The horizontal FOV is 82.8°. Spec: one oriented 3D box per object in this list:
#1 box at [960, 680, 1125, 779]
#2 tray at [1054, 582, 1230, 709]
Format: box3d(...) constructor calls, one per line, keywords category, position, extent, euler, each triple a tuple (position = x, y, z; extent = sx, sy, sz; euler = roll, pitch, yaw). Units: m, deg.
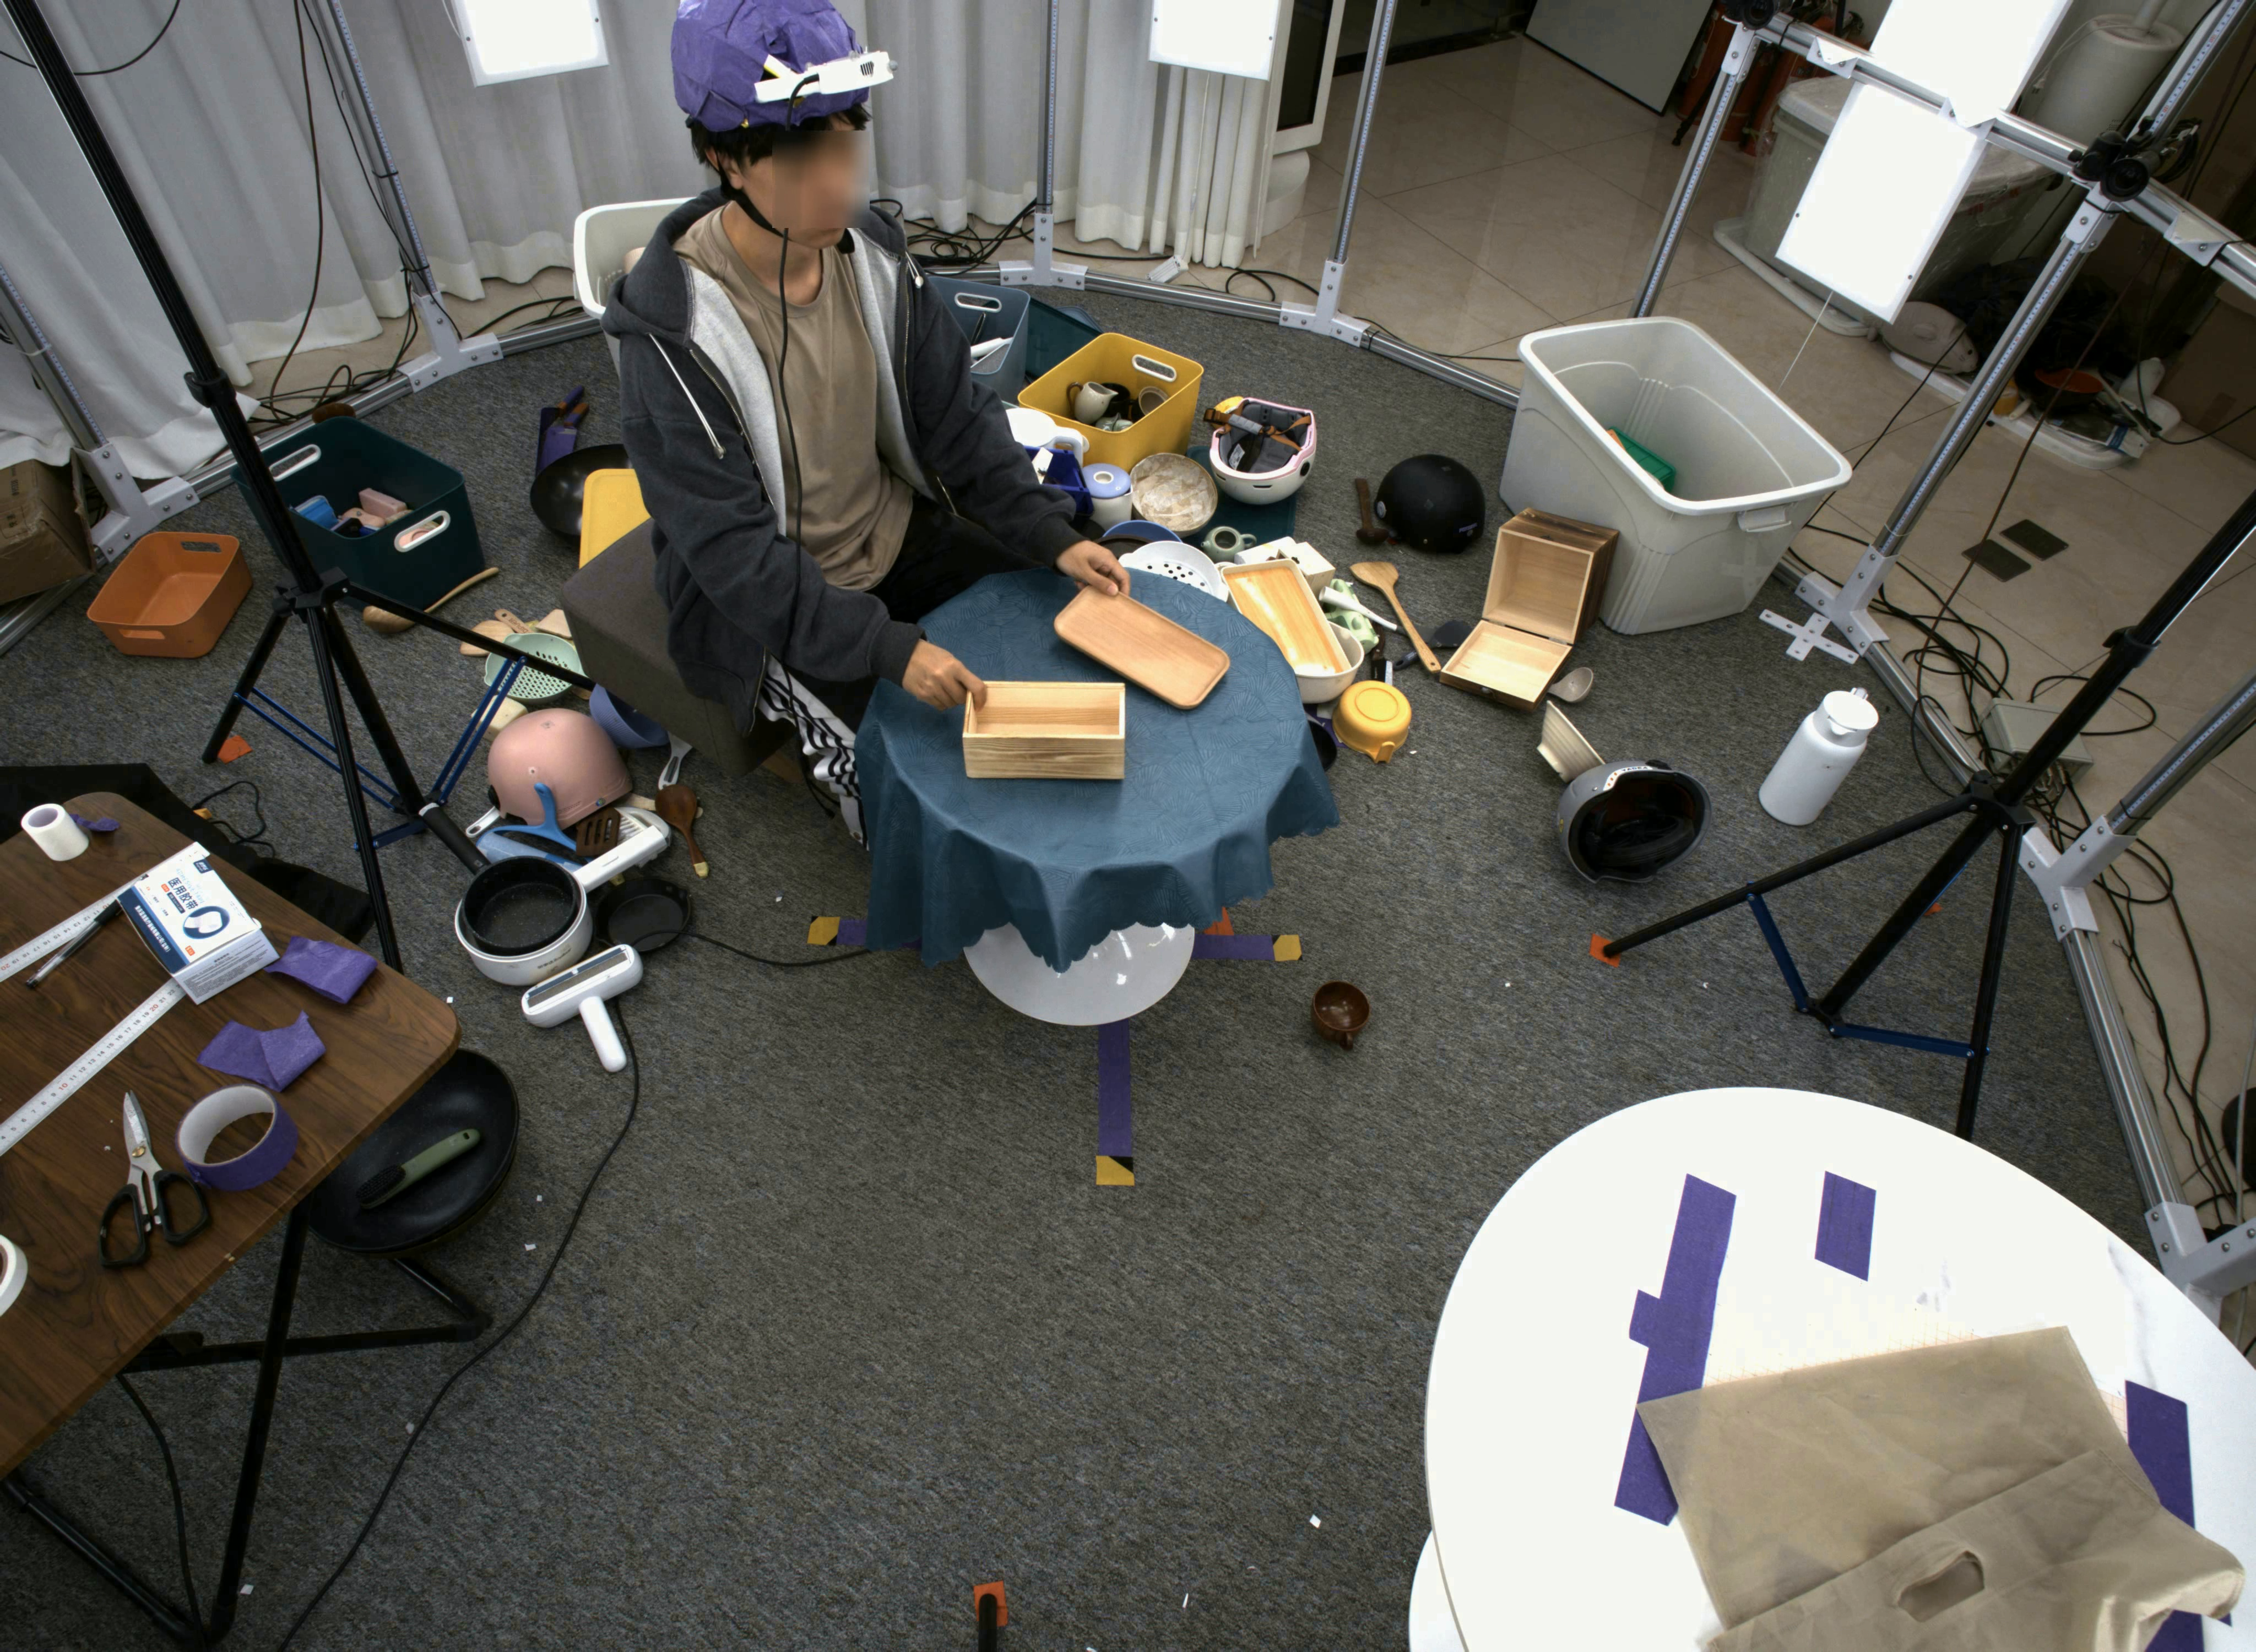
box3d(category="box", position=(-0.110, -0.129, 1.712), extent=(0.211, 0.078, 0.110), euler=(1, 49, 0))
box3d(category="tray", position=(0.019, -0.263, 1.864), extent=(0.253, 0.022, 0.132), euler=(32, 55, 15))
